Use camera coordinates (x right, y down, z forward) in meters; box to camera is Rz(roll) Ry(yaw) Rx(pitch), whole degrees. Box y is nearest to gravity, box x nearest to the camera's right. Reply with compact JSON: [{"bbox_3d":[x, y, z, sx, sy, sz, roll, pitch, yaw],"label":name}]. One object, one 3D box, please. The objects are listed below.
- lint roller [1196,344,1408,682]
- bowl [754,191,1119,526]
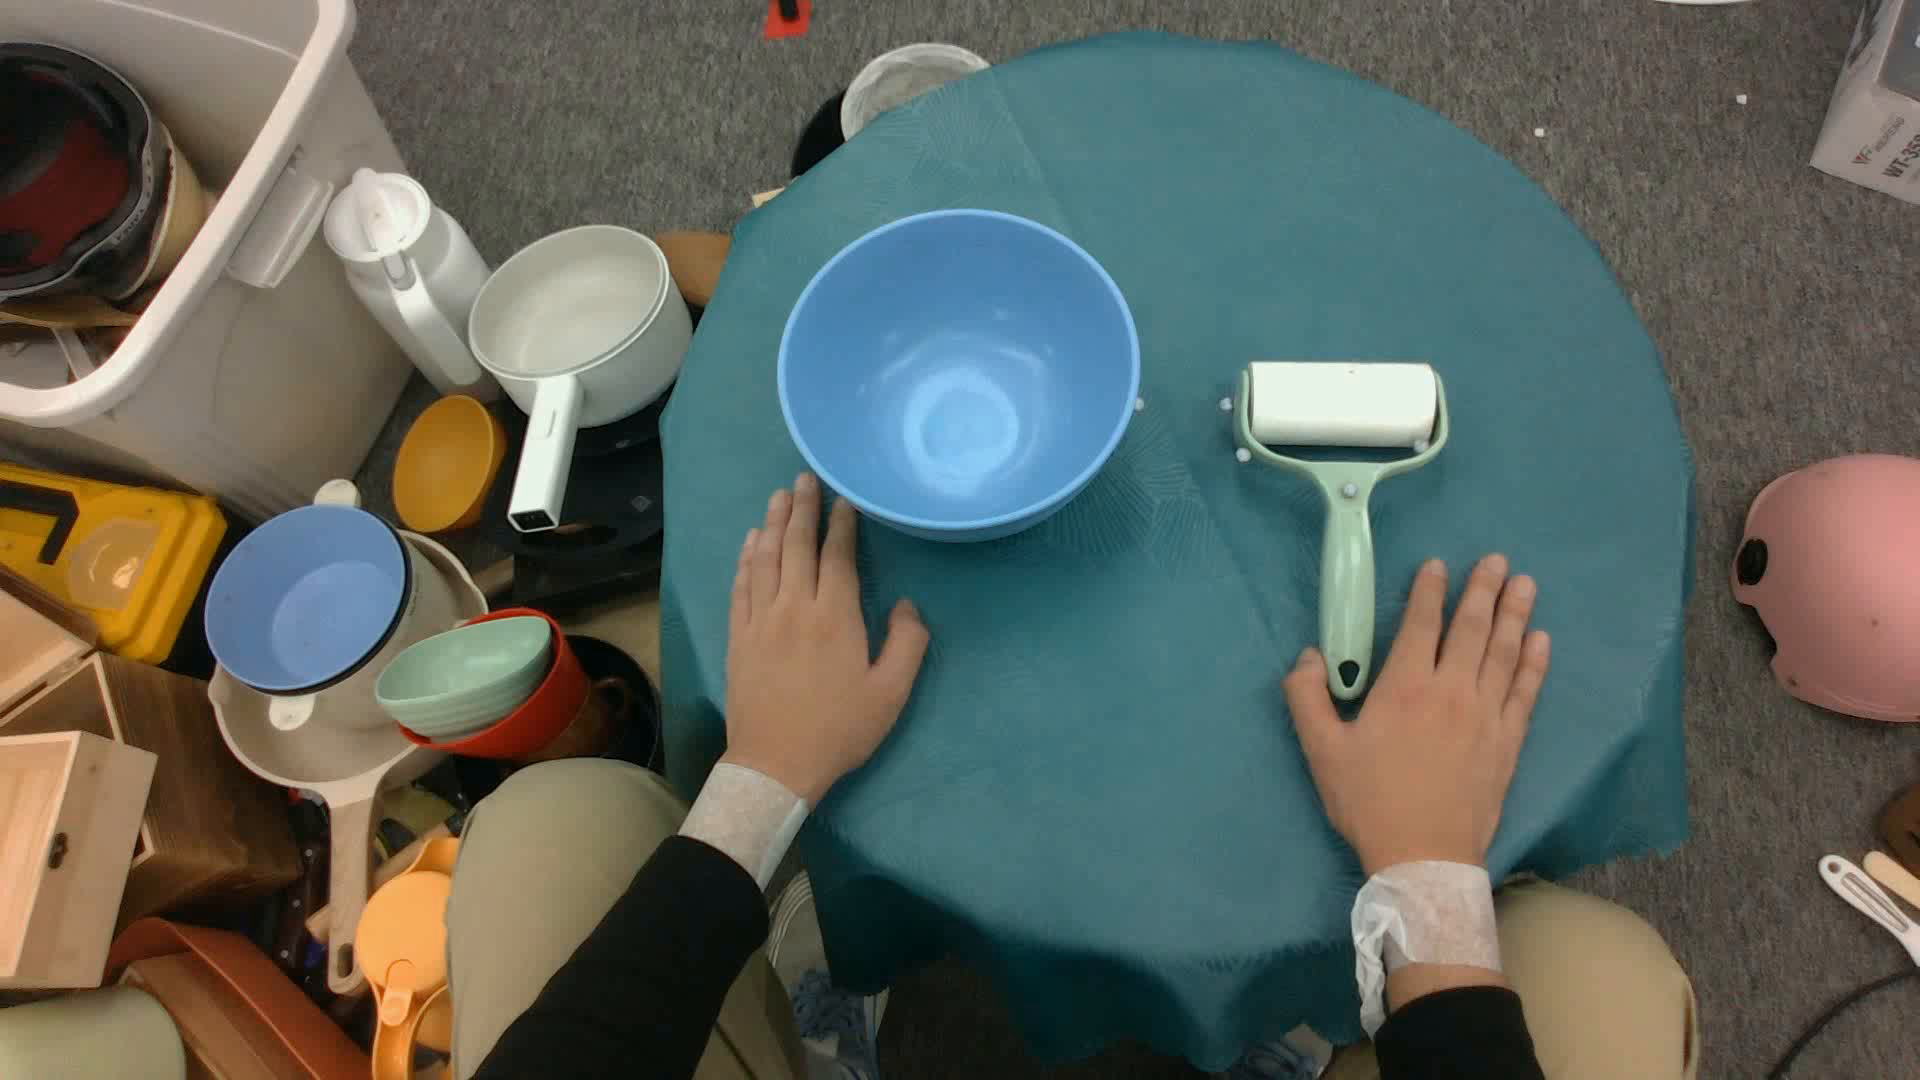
[{"bbox_3d":[0.193,-0.020,0.772,0.116,0.048,0.198,2,69,2],"label":"lint roller"},{"bbox_3d":[-0.012,-0.088,0.780,0.196,0.095,0.197,0,68,1],"label":"bowl"}]
